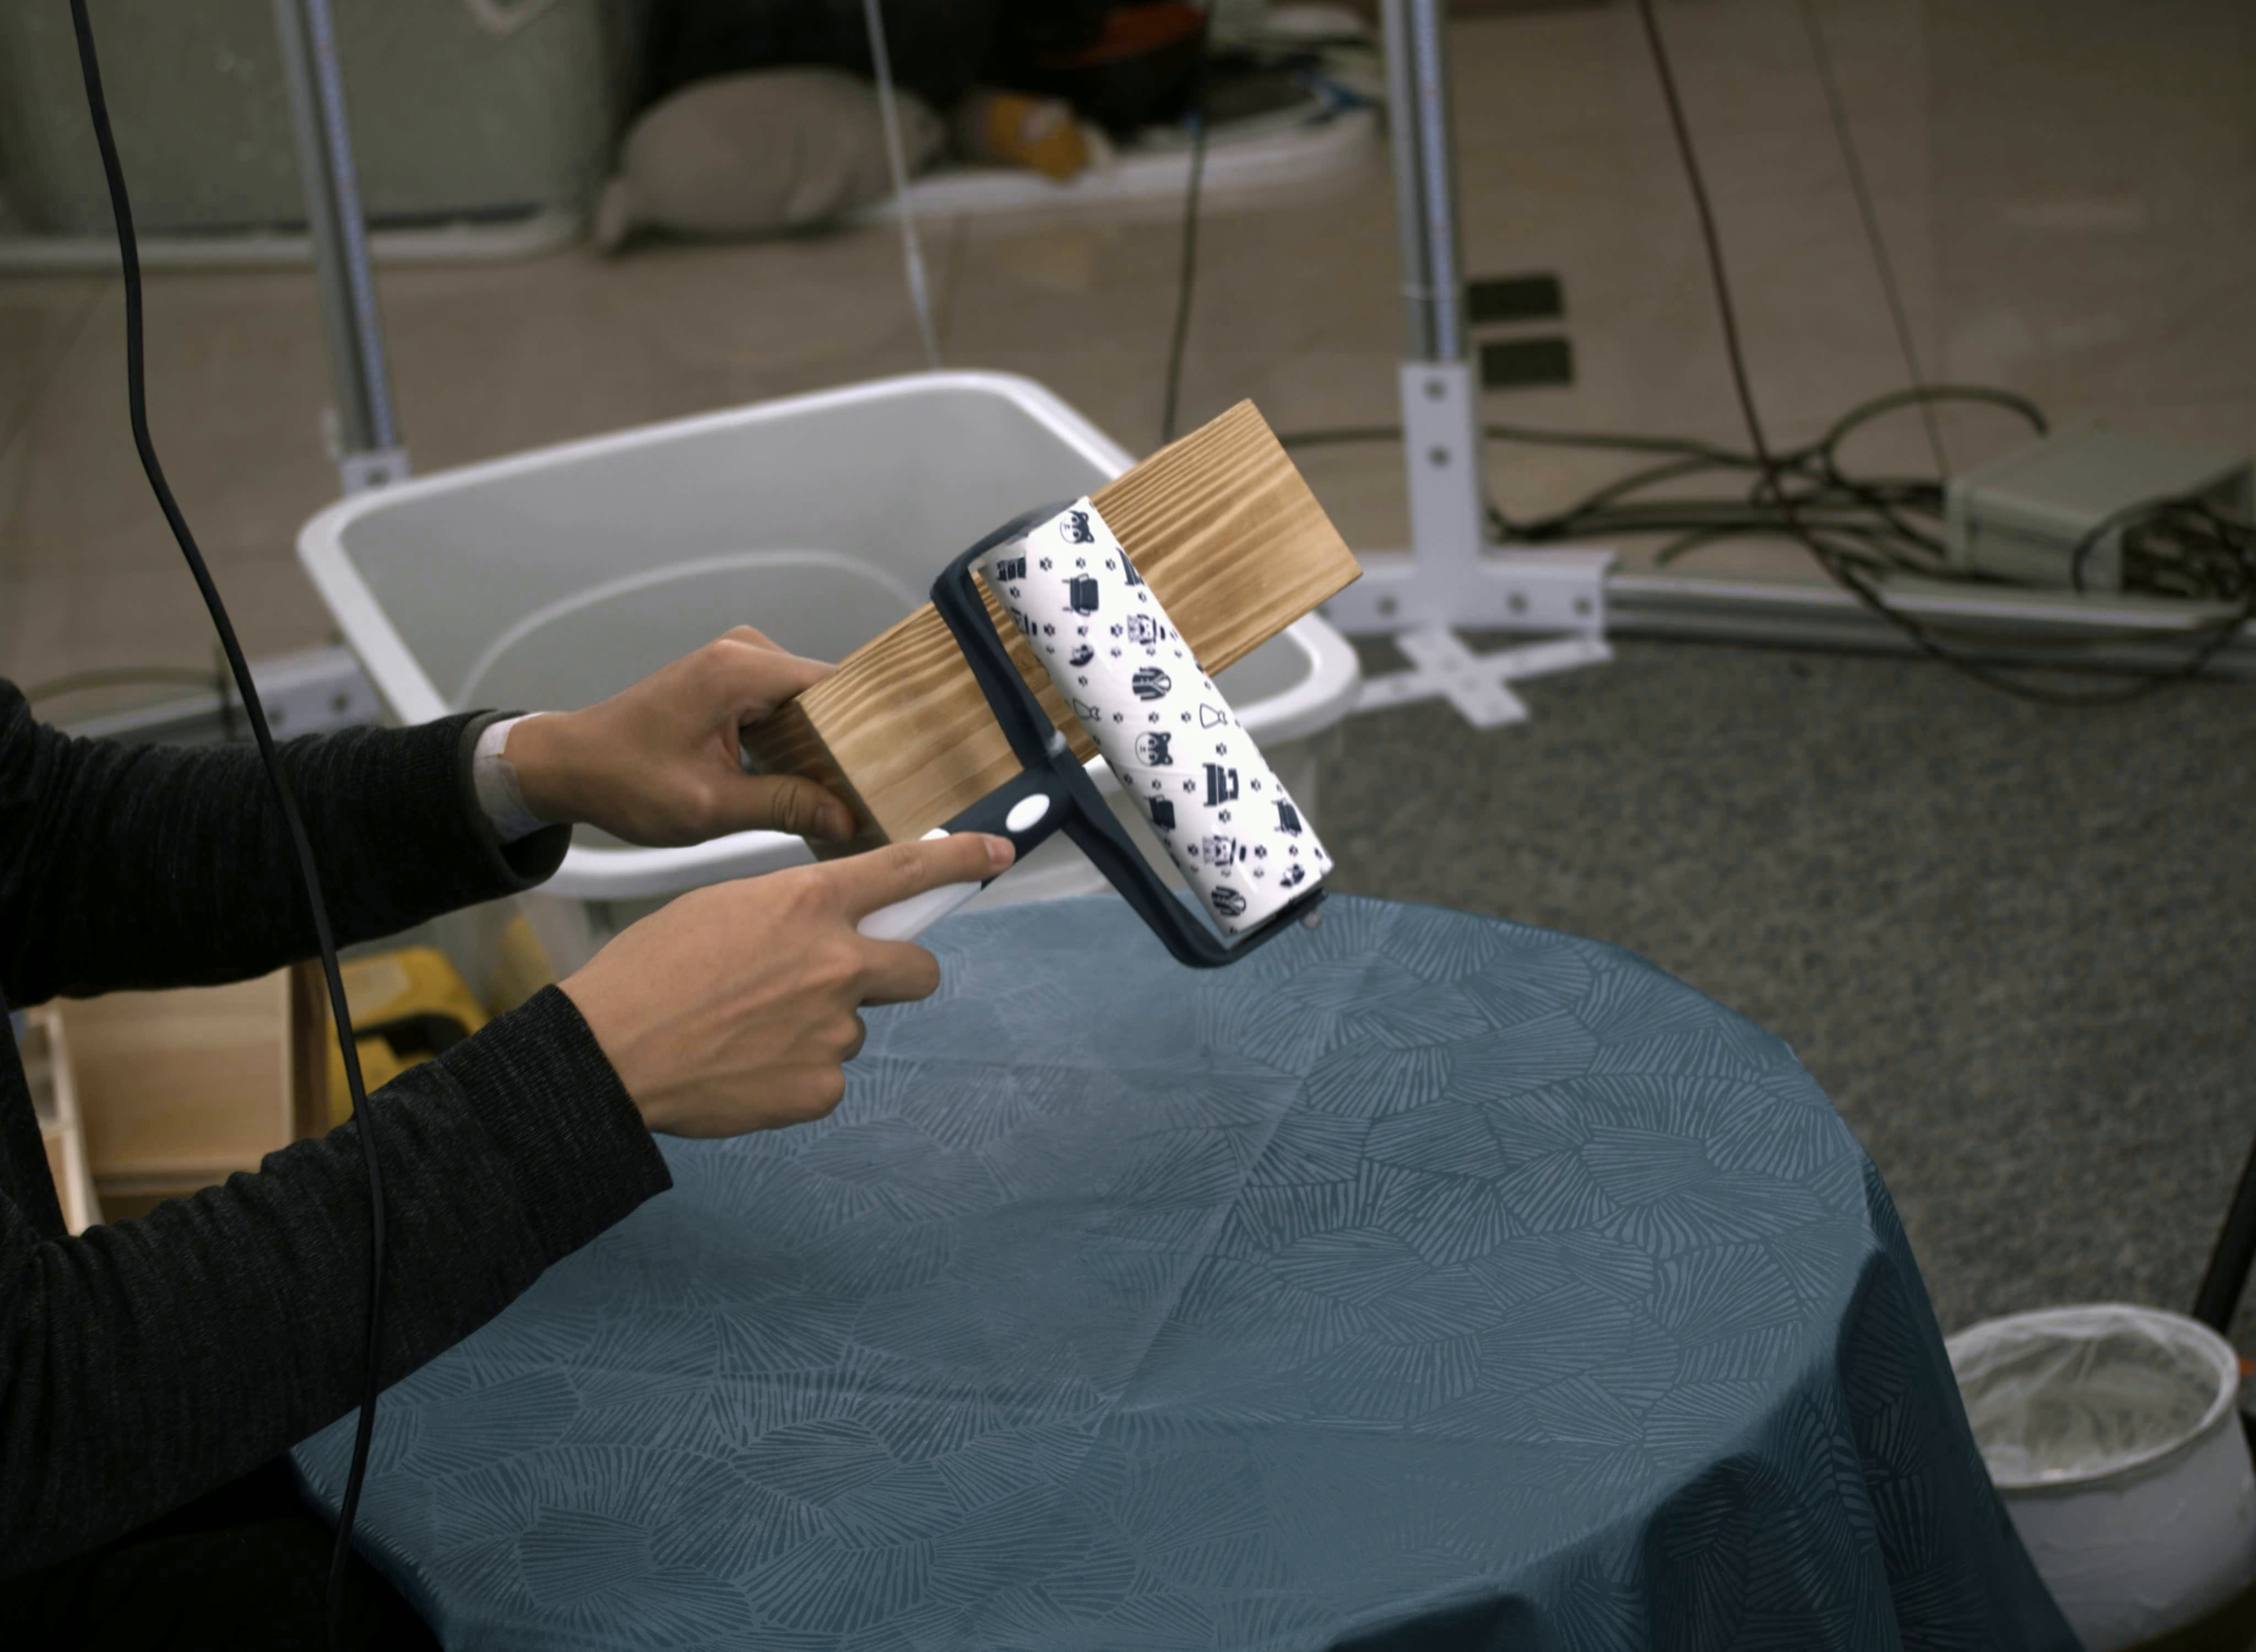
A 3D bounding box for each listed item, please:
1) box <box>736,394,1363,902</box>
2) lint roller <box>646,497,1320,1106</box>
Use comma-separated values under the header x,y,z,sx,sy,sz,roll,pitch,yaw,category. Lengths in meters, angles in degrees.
x,y,z,sx,sy,sz,roll,pitch,yaw,category
-0.030,-0.066,2.124,0.210,0.080,0.108,-35,5,-17,box
-0.064,0.022,1.968,0.245,0.177,0.050,-38,13,-22,lint roller
